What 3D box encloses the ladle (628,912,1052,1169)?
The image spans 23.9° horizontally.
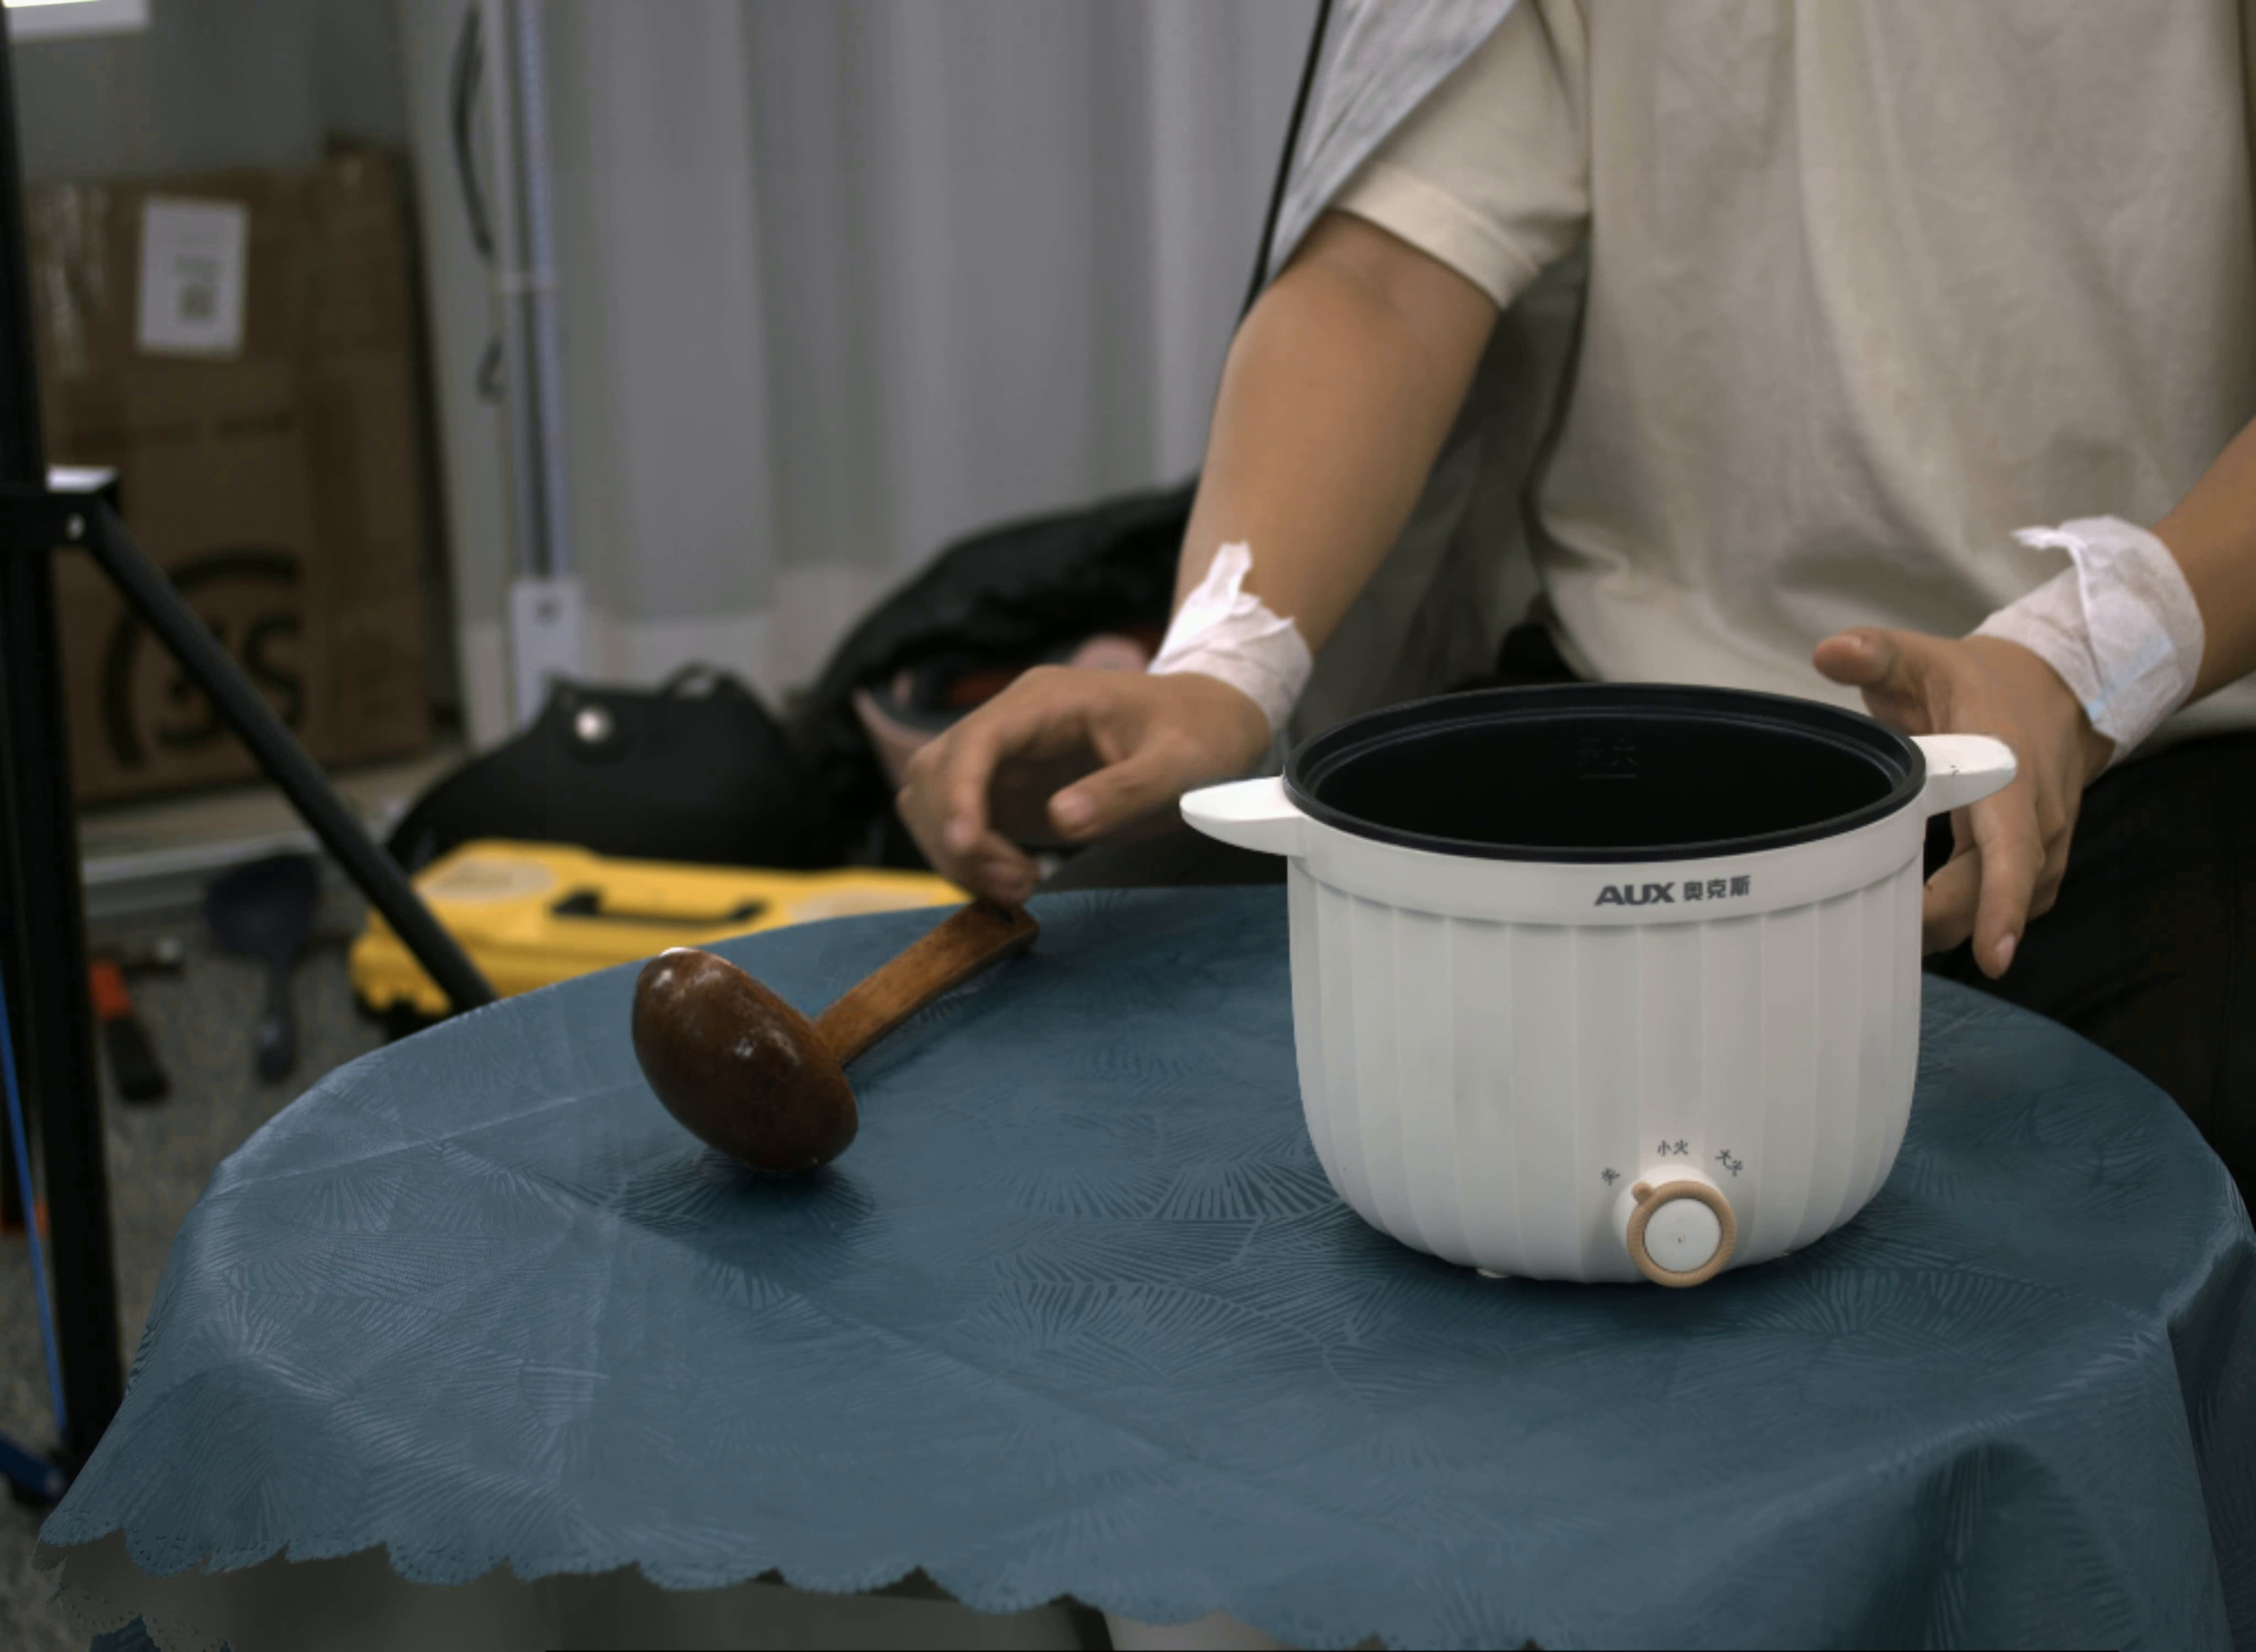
[{"bbox_3d":[-0.073,0.044,1.667,0.082,0.077,0.270,44,27,9],"label":"ladle"}]

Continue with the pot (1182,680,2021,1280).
[{"bbox_3d":[0.138,0.046,1.496,0.238,0.143,0.192,-5,12,-5],"label":"pot"}]
